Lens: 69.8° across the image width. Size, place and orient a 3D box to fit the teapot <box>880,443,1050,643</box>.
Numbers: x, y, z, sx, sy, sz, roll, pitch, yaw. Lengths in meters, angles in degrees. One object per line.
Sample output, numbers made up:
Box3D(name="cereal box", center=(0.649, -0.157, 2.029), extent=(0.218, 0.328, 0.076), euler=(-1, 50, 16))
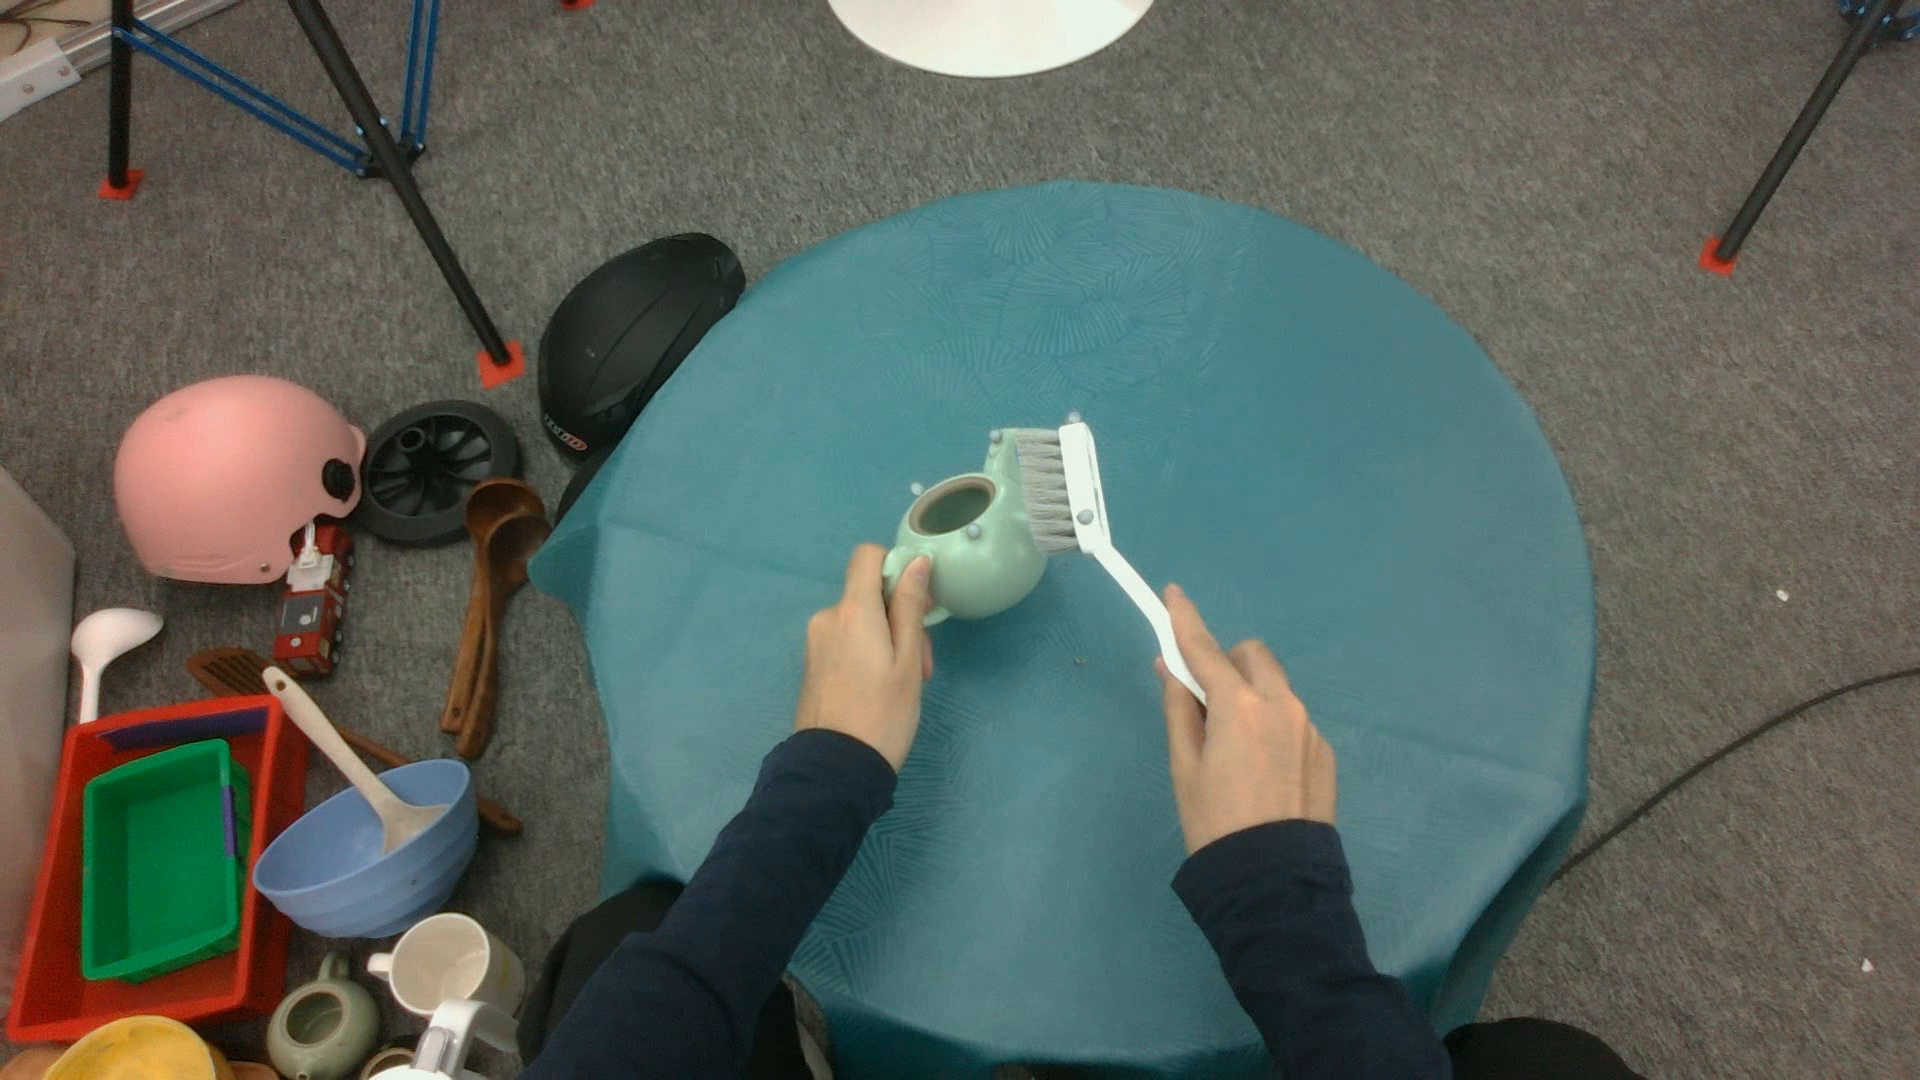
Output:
Box3D(name="teapot", center=(0.008, 0.011, 0.791), extent=(0.088, 0.074, 0.144), euler=(8, 44, 40))

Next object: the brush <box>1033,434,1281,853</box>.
Box3D(name="brush", center=(0.094, 0.053, 0.710), extent=(0.050, 0.034, 0.244), euler=(-24, 78, 3))
